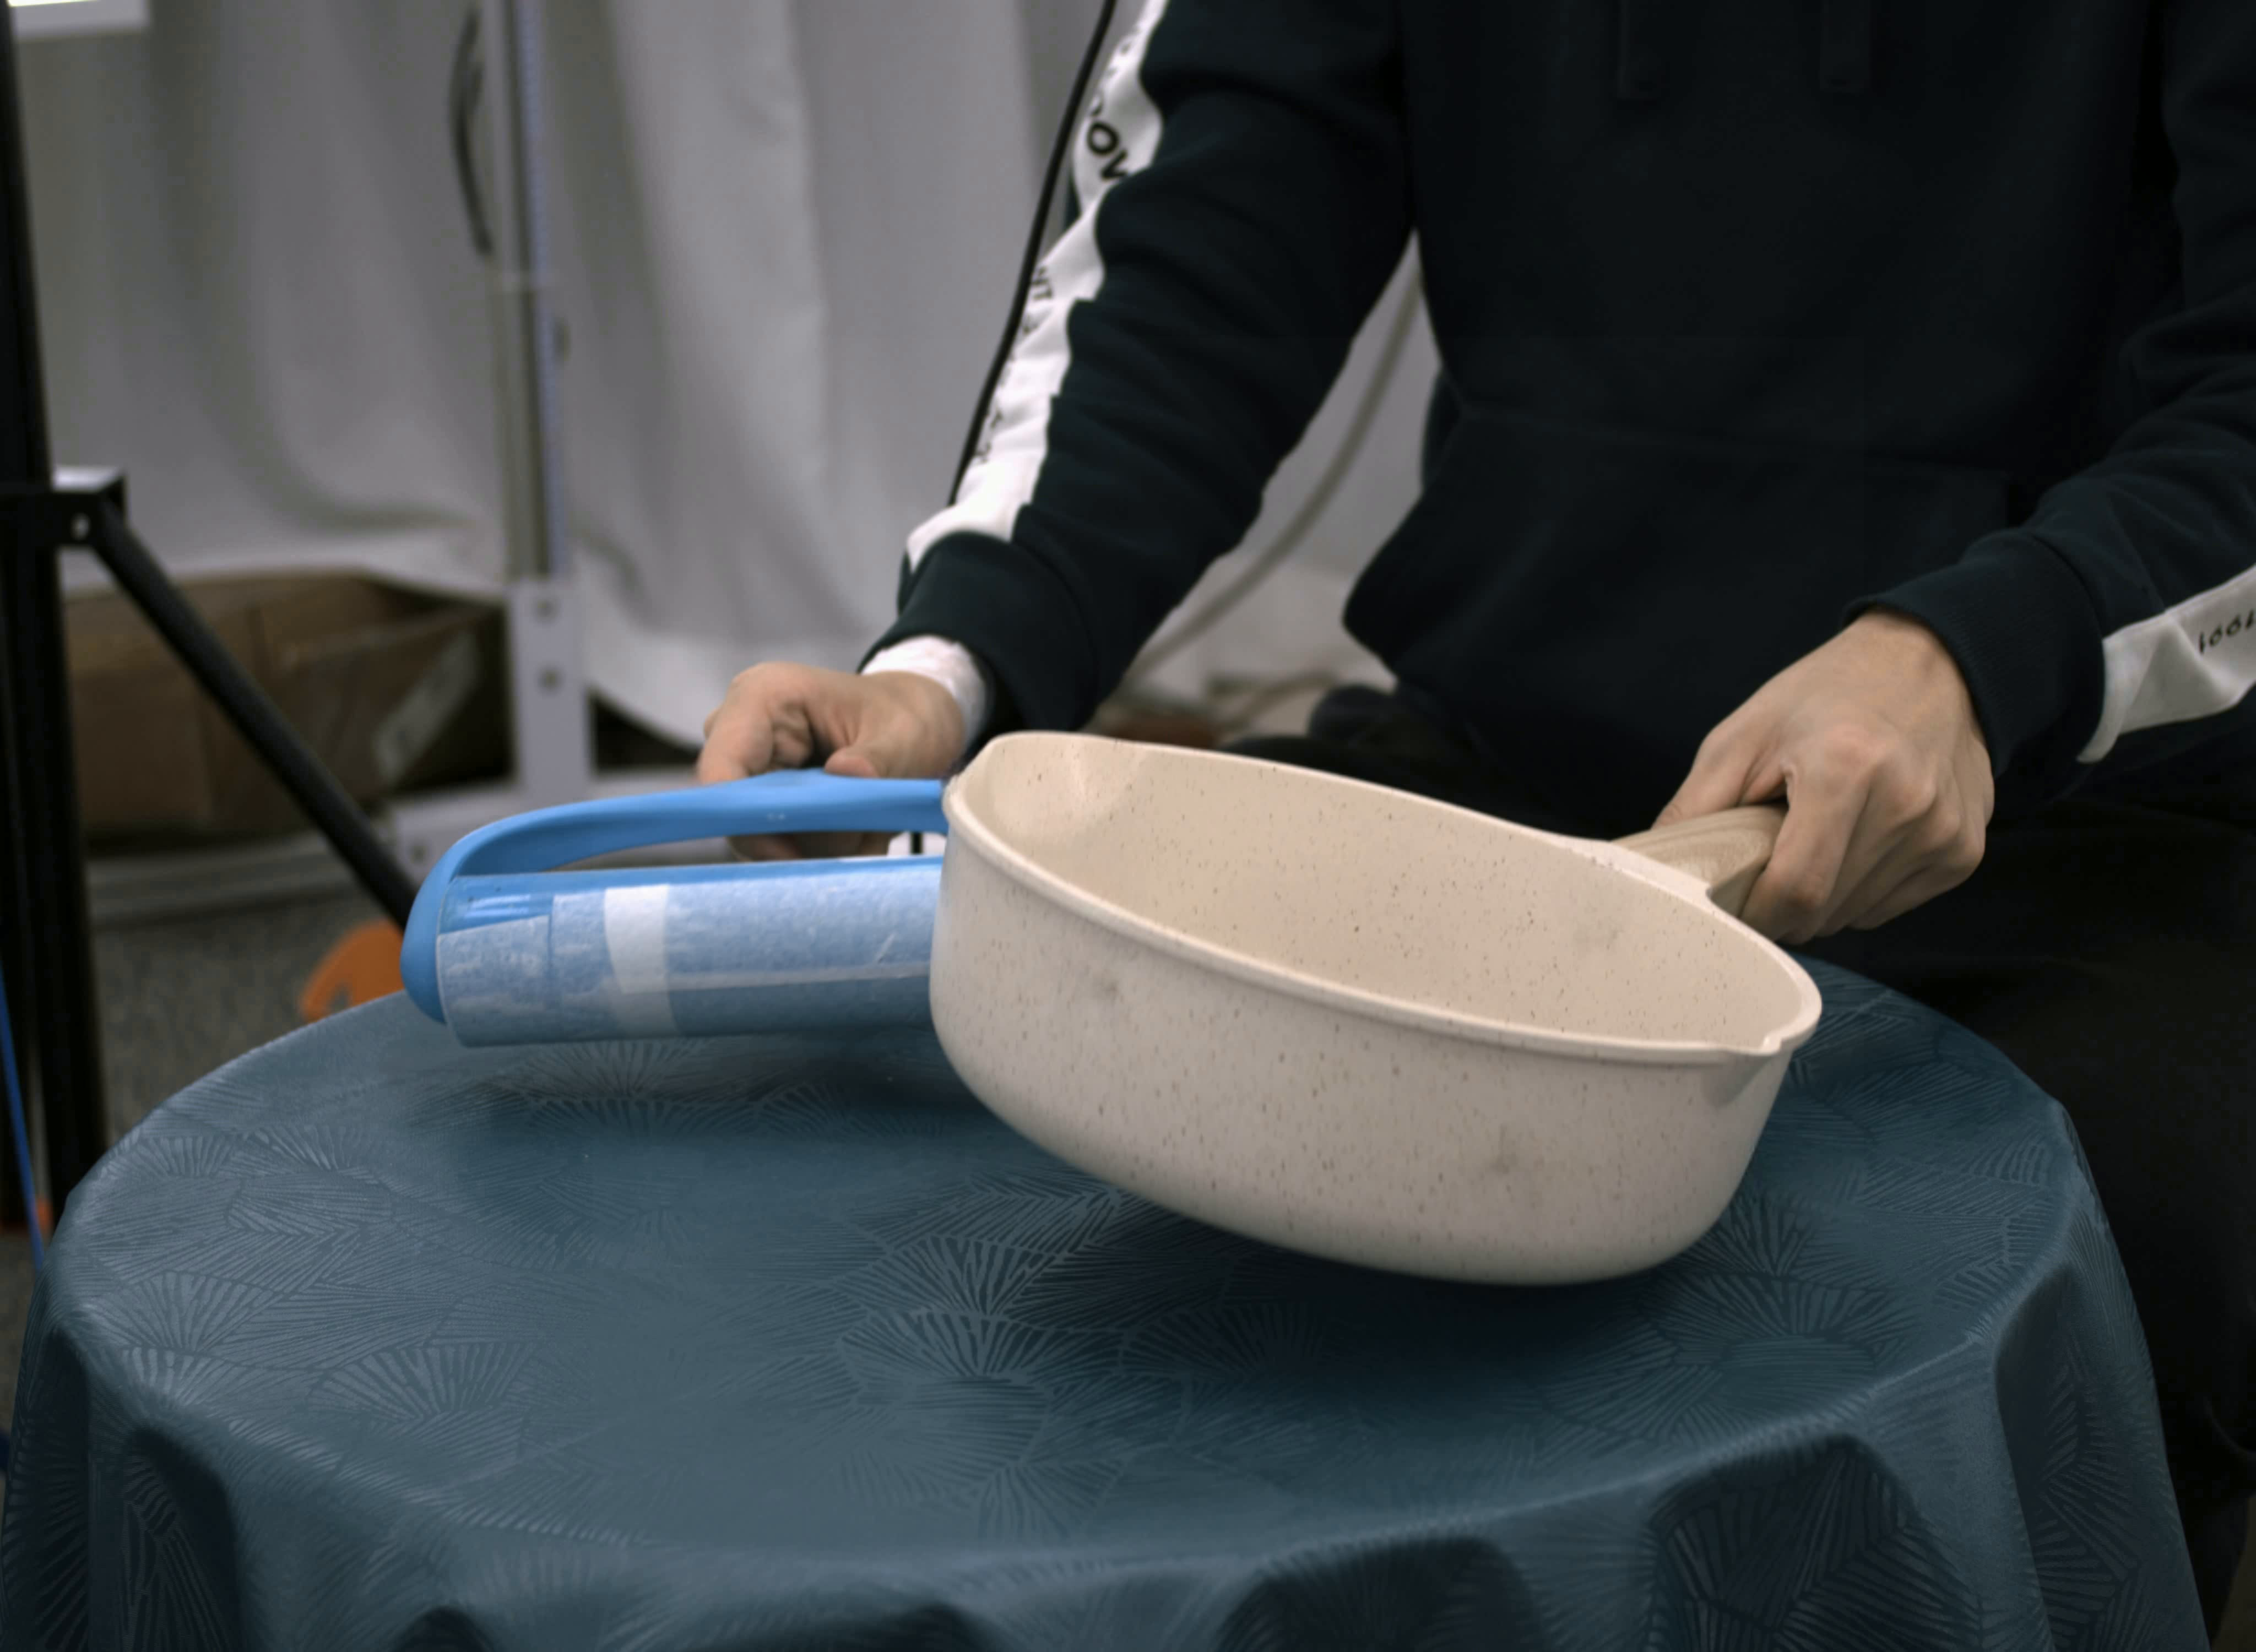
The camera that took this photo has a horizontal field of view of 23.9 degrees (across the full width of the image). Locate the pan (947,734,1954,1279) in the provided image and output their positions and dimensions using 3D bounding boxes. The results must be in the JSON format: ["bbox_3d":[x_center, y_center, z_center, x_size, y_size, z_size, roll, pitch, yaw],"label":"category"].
[{"bbox_3d":[0.122,0.043,1.541,0.269,0.102,0.424,22,15,35],"label":"pan"}]

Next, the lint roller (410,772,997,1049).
[{"bbox_3d":[-0.107,0.014,1.707,0.229,0.067,0.180,-6,21,9],"label":"lint roller"}]
